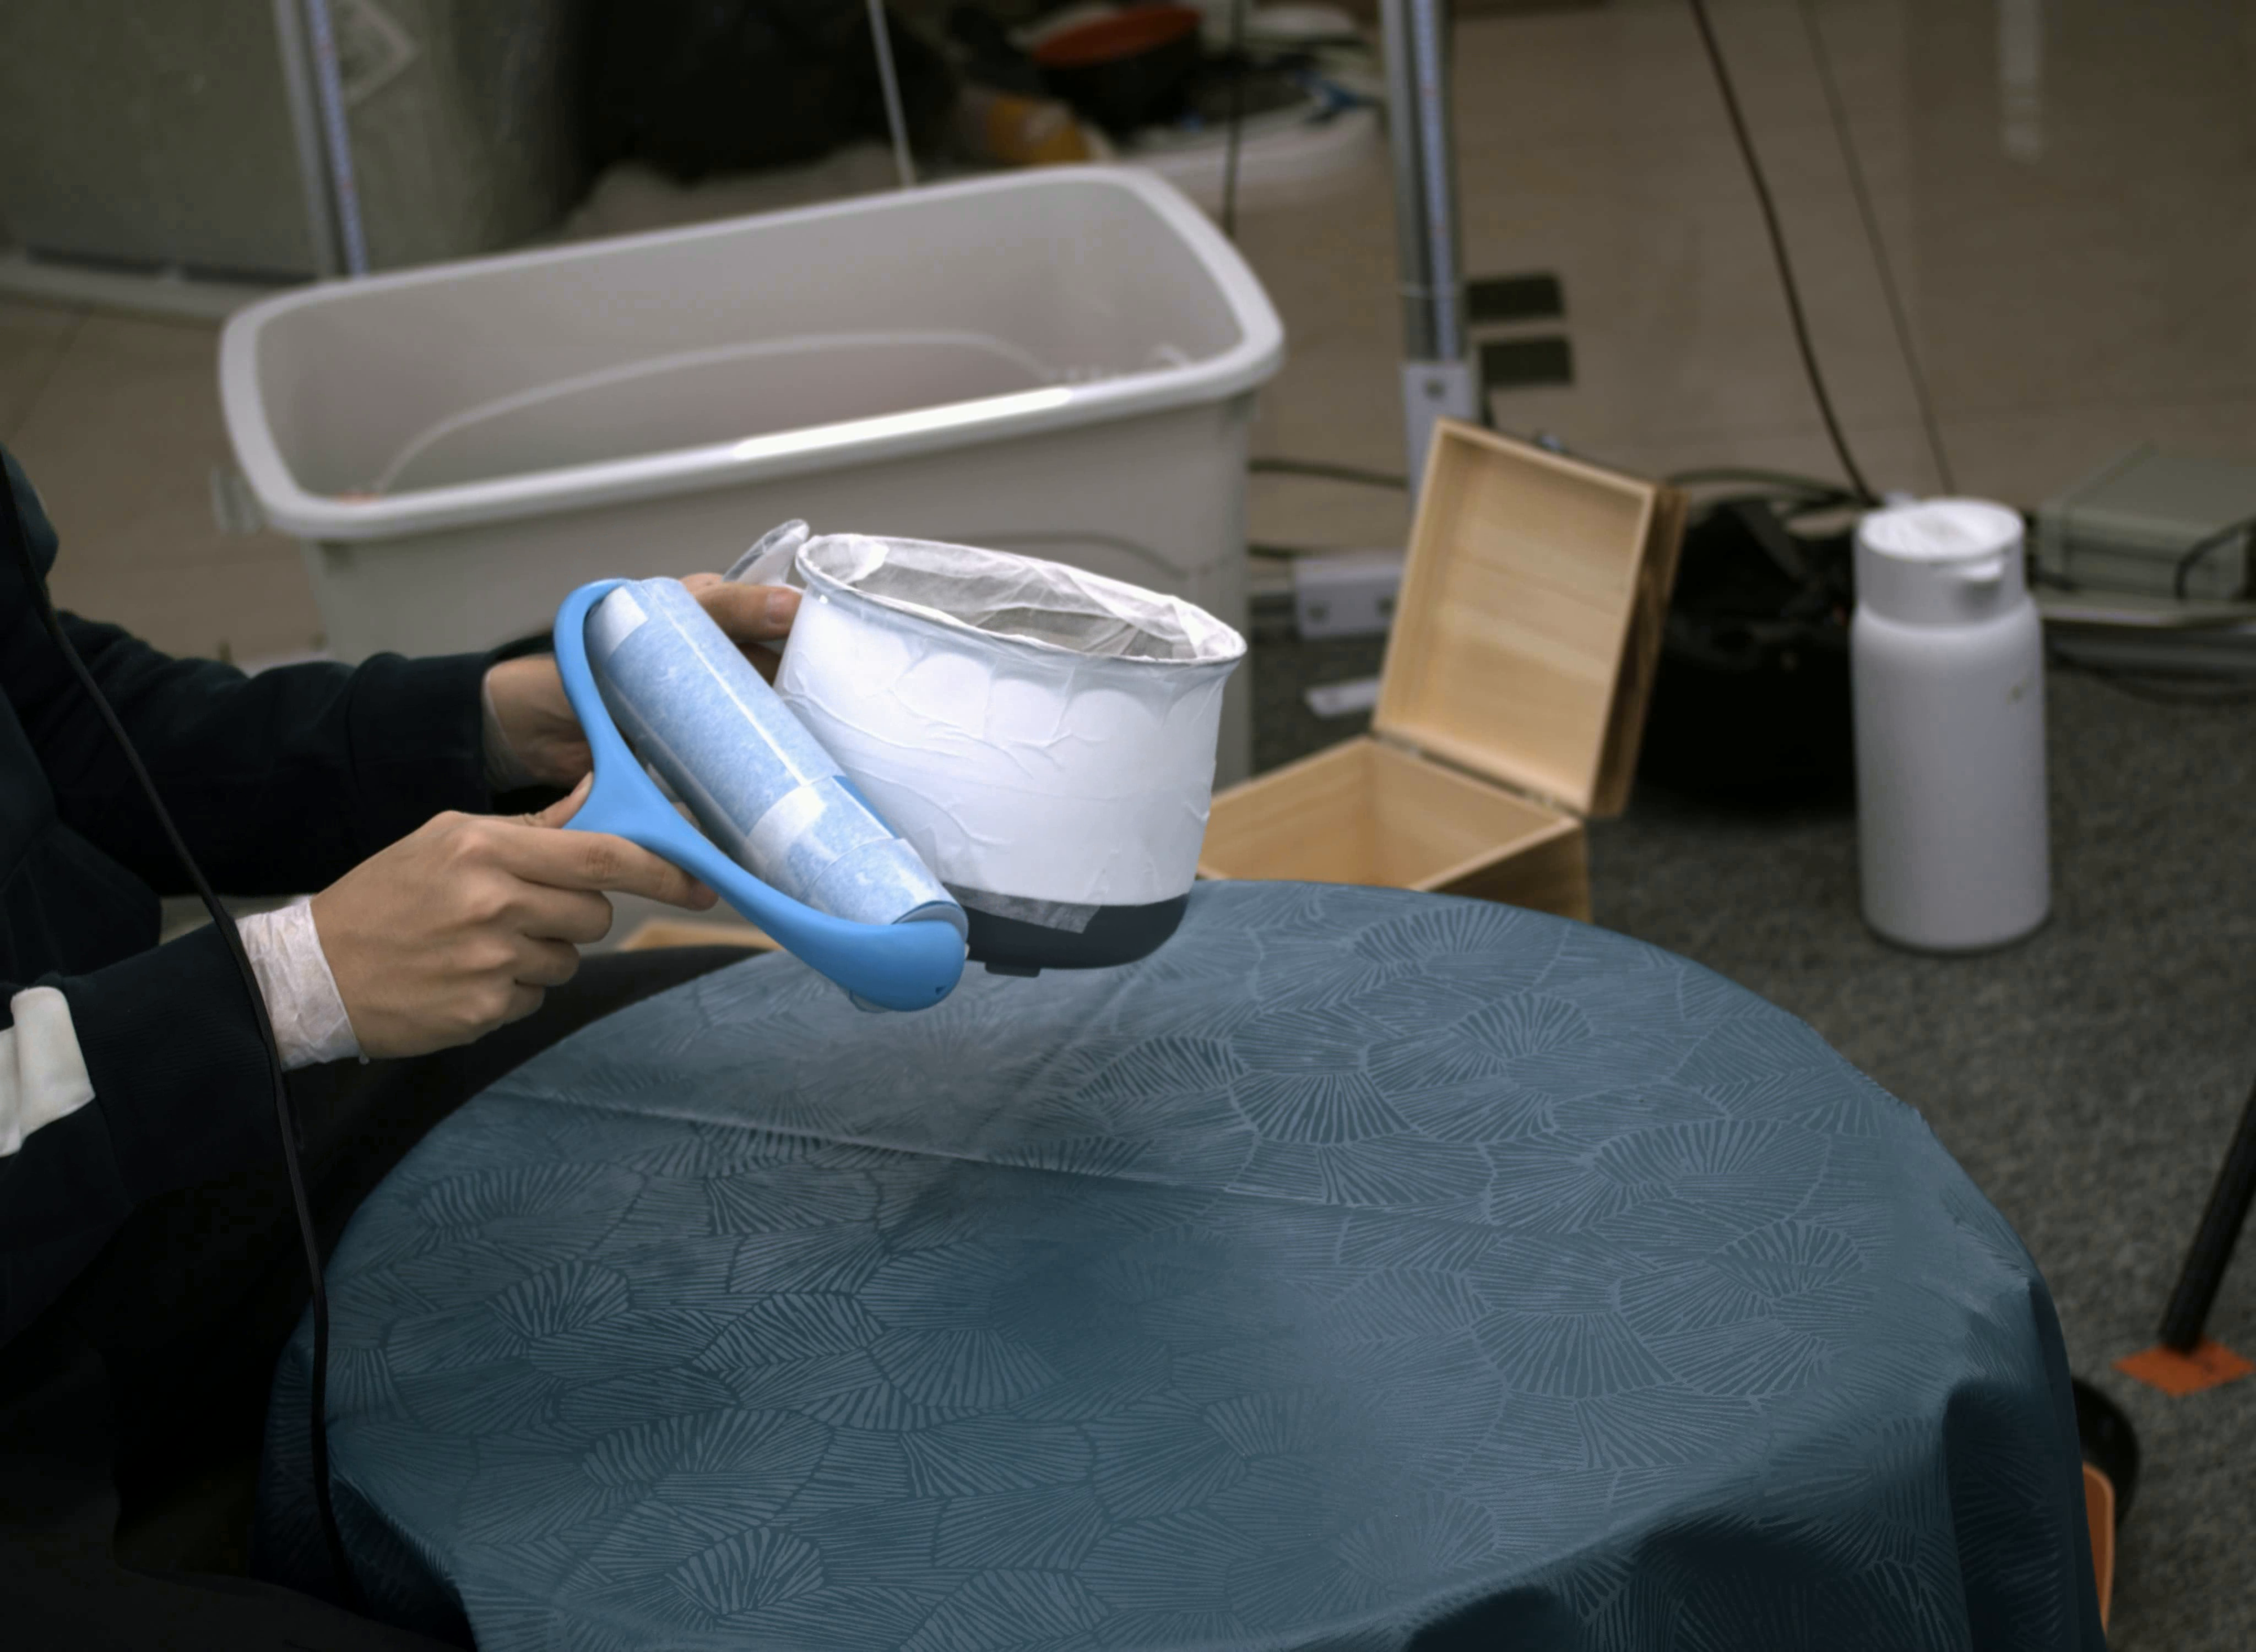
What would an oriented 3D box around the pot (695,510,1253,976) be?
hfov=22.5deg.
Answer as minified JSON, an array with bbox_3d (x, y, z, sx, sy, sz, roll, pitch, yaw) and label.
[{"bbox_3d":[-0.078,-0.037,2.185,0.232,0.138,0.178,18,14,19],"label":"pot"}]

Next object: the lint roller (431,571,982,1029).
[{"bbox_3d":[-0.178,0.012,2.075,0.179,0.069,0.226,-32,61,-23],"label":"lint roller"}]
